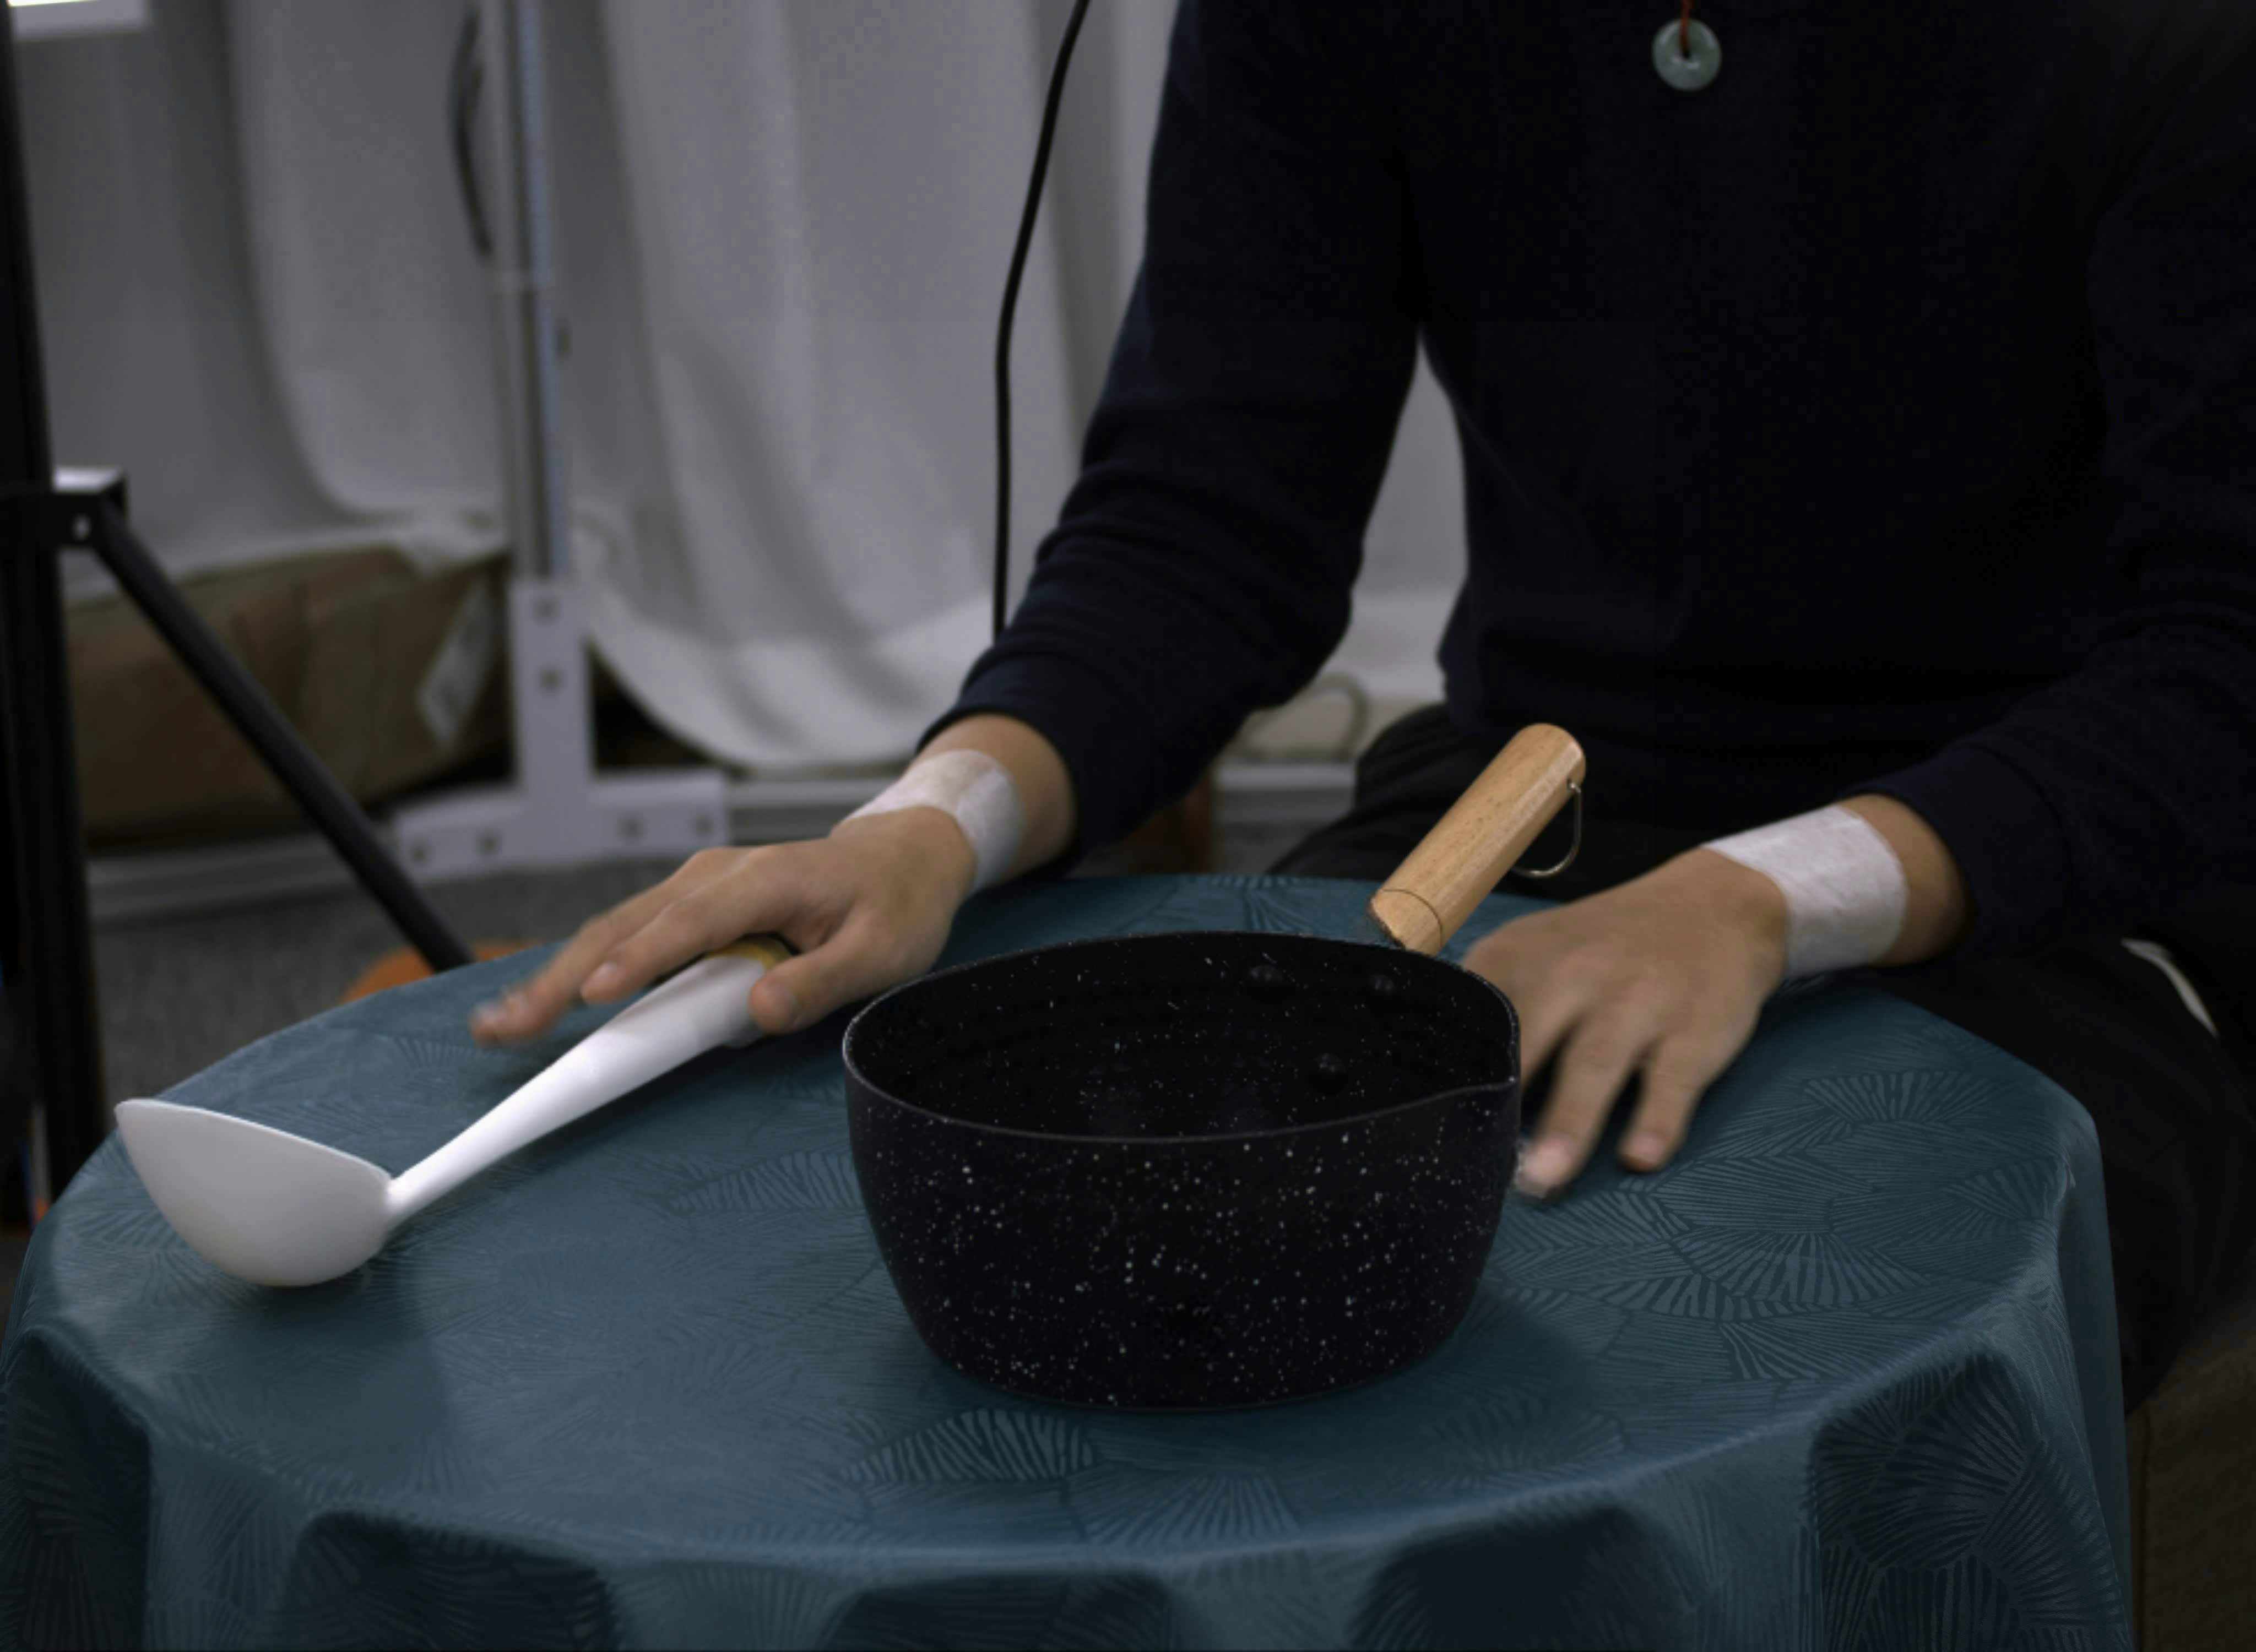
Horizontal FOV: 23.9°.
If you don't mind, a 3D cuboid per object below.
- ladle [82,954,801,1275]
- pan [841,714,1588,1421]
[{"bbox_3d":[-0.194,0.072,1.603,0.092,0.070,0.287,-1,13,33],"label":"ladle"},{"bbox_3d":[0.052,0.063,1.509,0.211,0.108,0.337,5,19,28],"label":"pan"}]
